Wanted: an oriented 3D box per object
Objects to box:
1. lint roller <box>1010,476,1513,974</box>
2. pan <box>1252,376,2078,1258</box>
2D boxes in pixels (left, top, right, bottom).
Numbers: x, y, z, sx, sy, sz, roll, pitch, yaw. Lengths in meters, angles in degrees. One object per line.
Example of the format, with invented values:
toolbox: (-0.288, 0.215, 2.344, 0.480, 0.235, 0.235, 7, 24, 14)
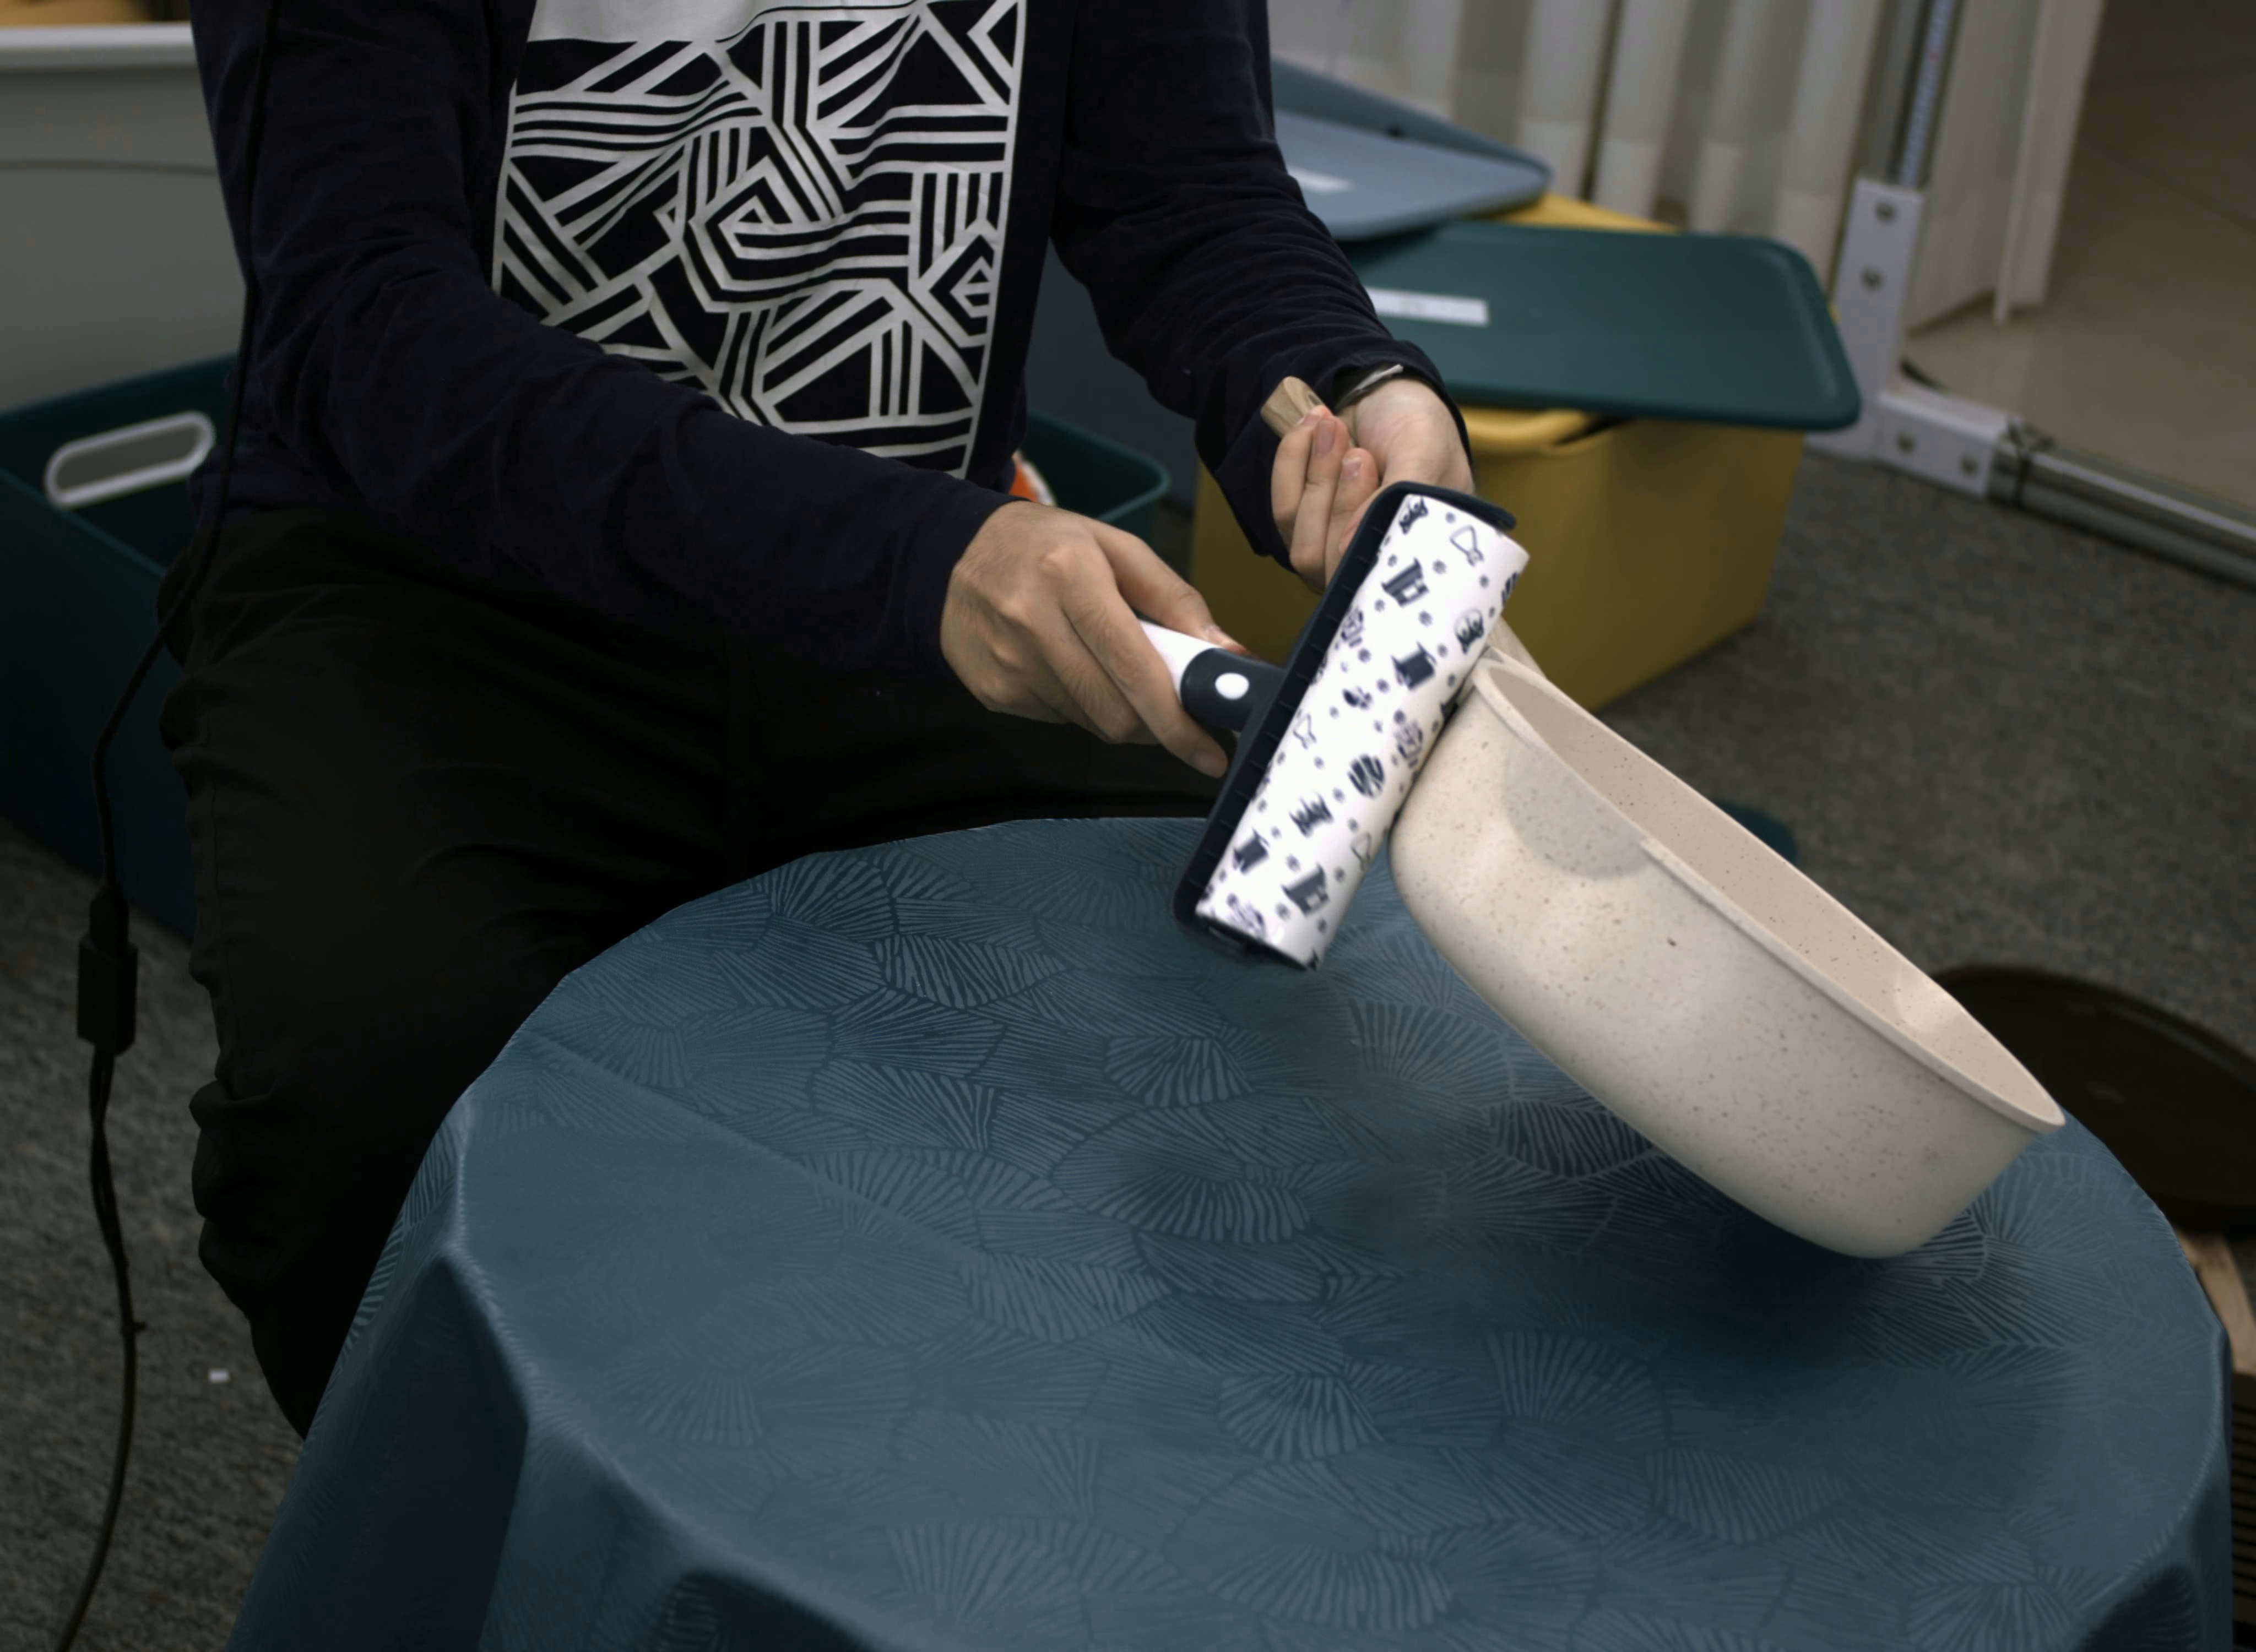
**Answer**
lint roller: (0.021, -0.051, 1.879, 0.050, 0.176, 0.249, 31, -8, -34)
pan: (0.150, -0.005, 1.859, 0.261, 0.102, 0.439, 24, 16, -49)
